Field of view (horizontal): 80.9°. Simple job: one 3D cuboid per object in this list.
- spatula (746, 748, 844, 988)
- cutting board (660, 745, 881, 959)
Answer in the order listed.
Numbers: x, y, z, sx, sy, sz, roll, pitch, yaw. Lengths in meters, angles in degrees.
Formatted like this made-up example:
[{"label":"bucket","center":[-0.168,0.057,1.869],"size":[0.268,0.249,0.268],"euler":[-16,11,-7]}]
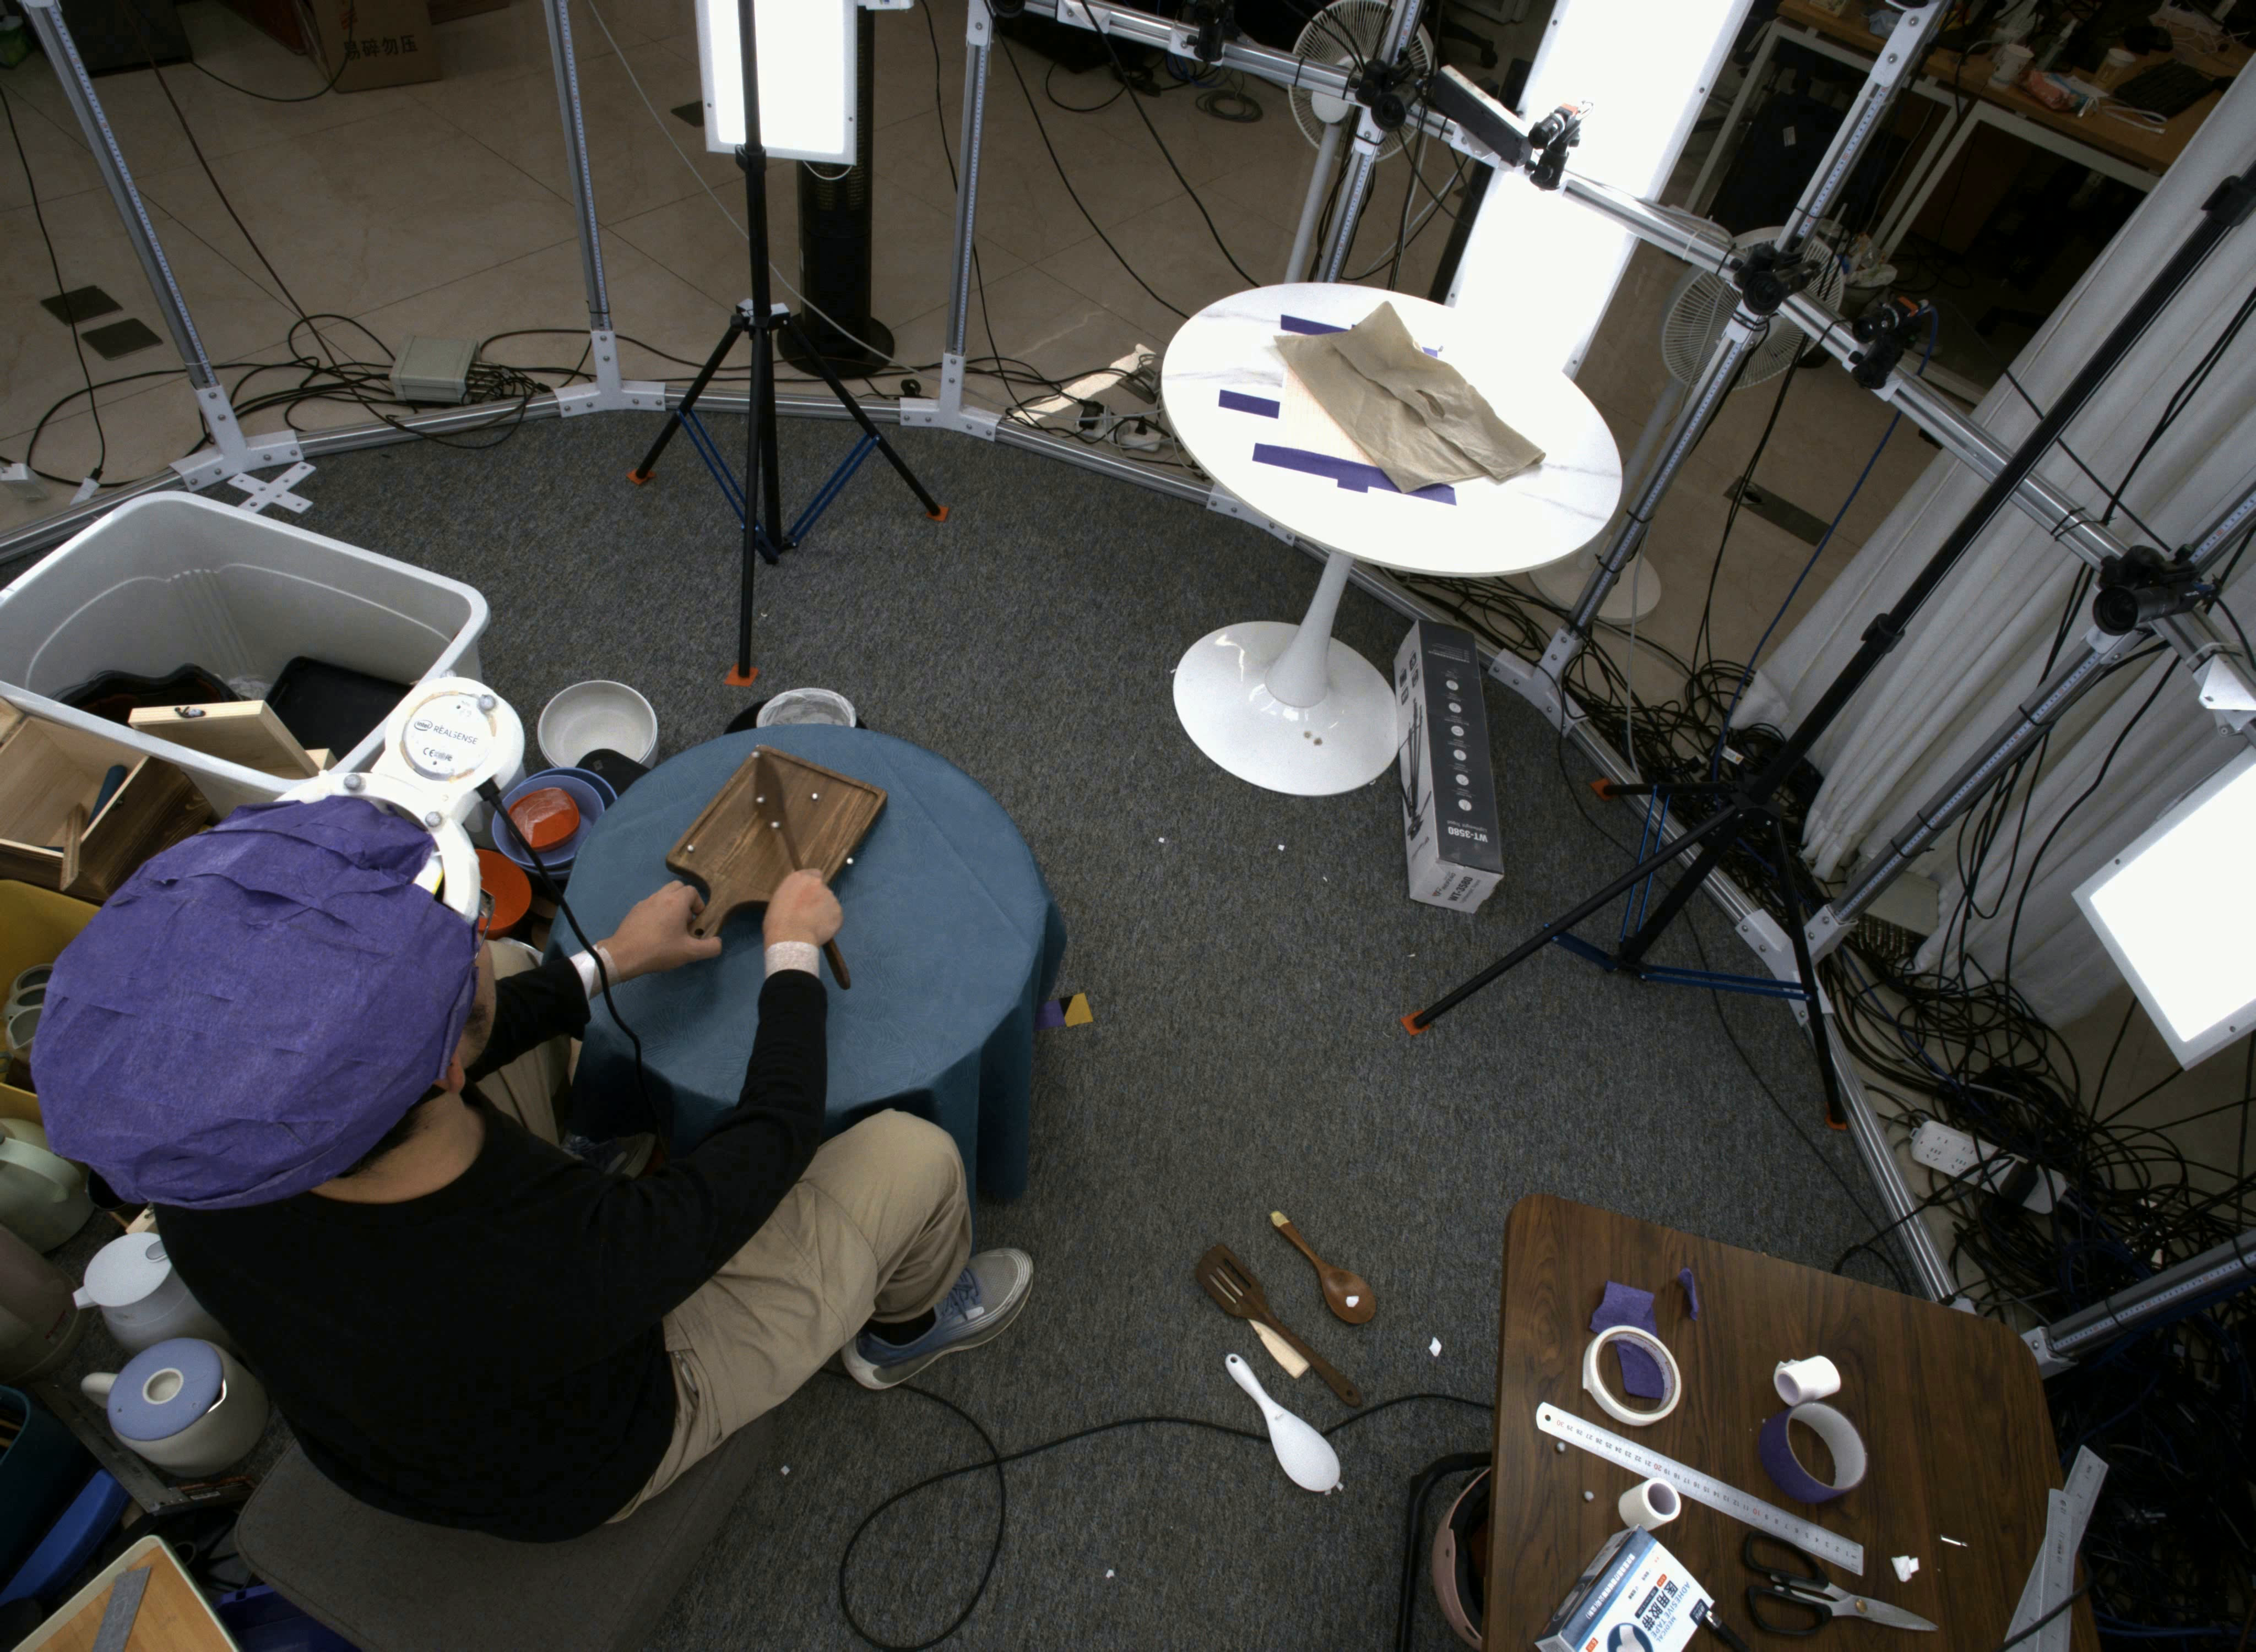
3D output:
[{"label":"spatula","center":[-0.406,0.050,1.556],"size":[0.016,0.098,0.374],"euler":[-11,48,-28]},{"label":"cutting board","center":[-0.471,0.034,1.640],"size":[0.199,0.024,0.348],"euler":[21,44,2]}]
